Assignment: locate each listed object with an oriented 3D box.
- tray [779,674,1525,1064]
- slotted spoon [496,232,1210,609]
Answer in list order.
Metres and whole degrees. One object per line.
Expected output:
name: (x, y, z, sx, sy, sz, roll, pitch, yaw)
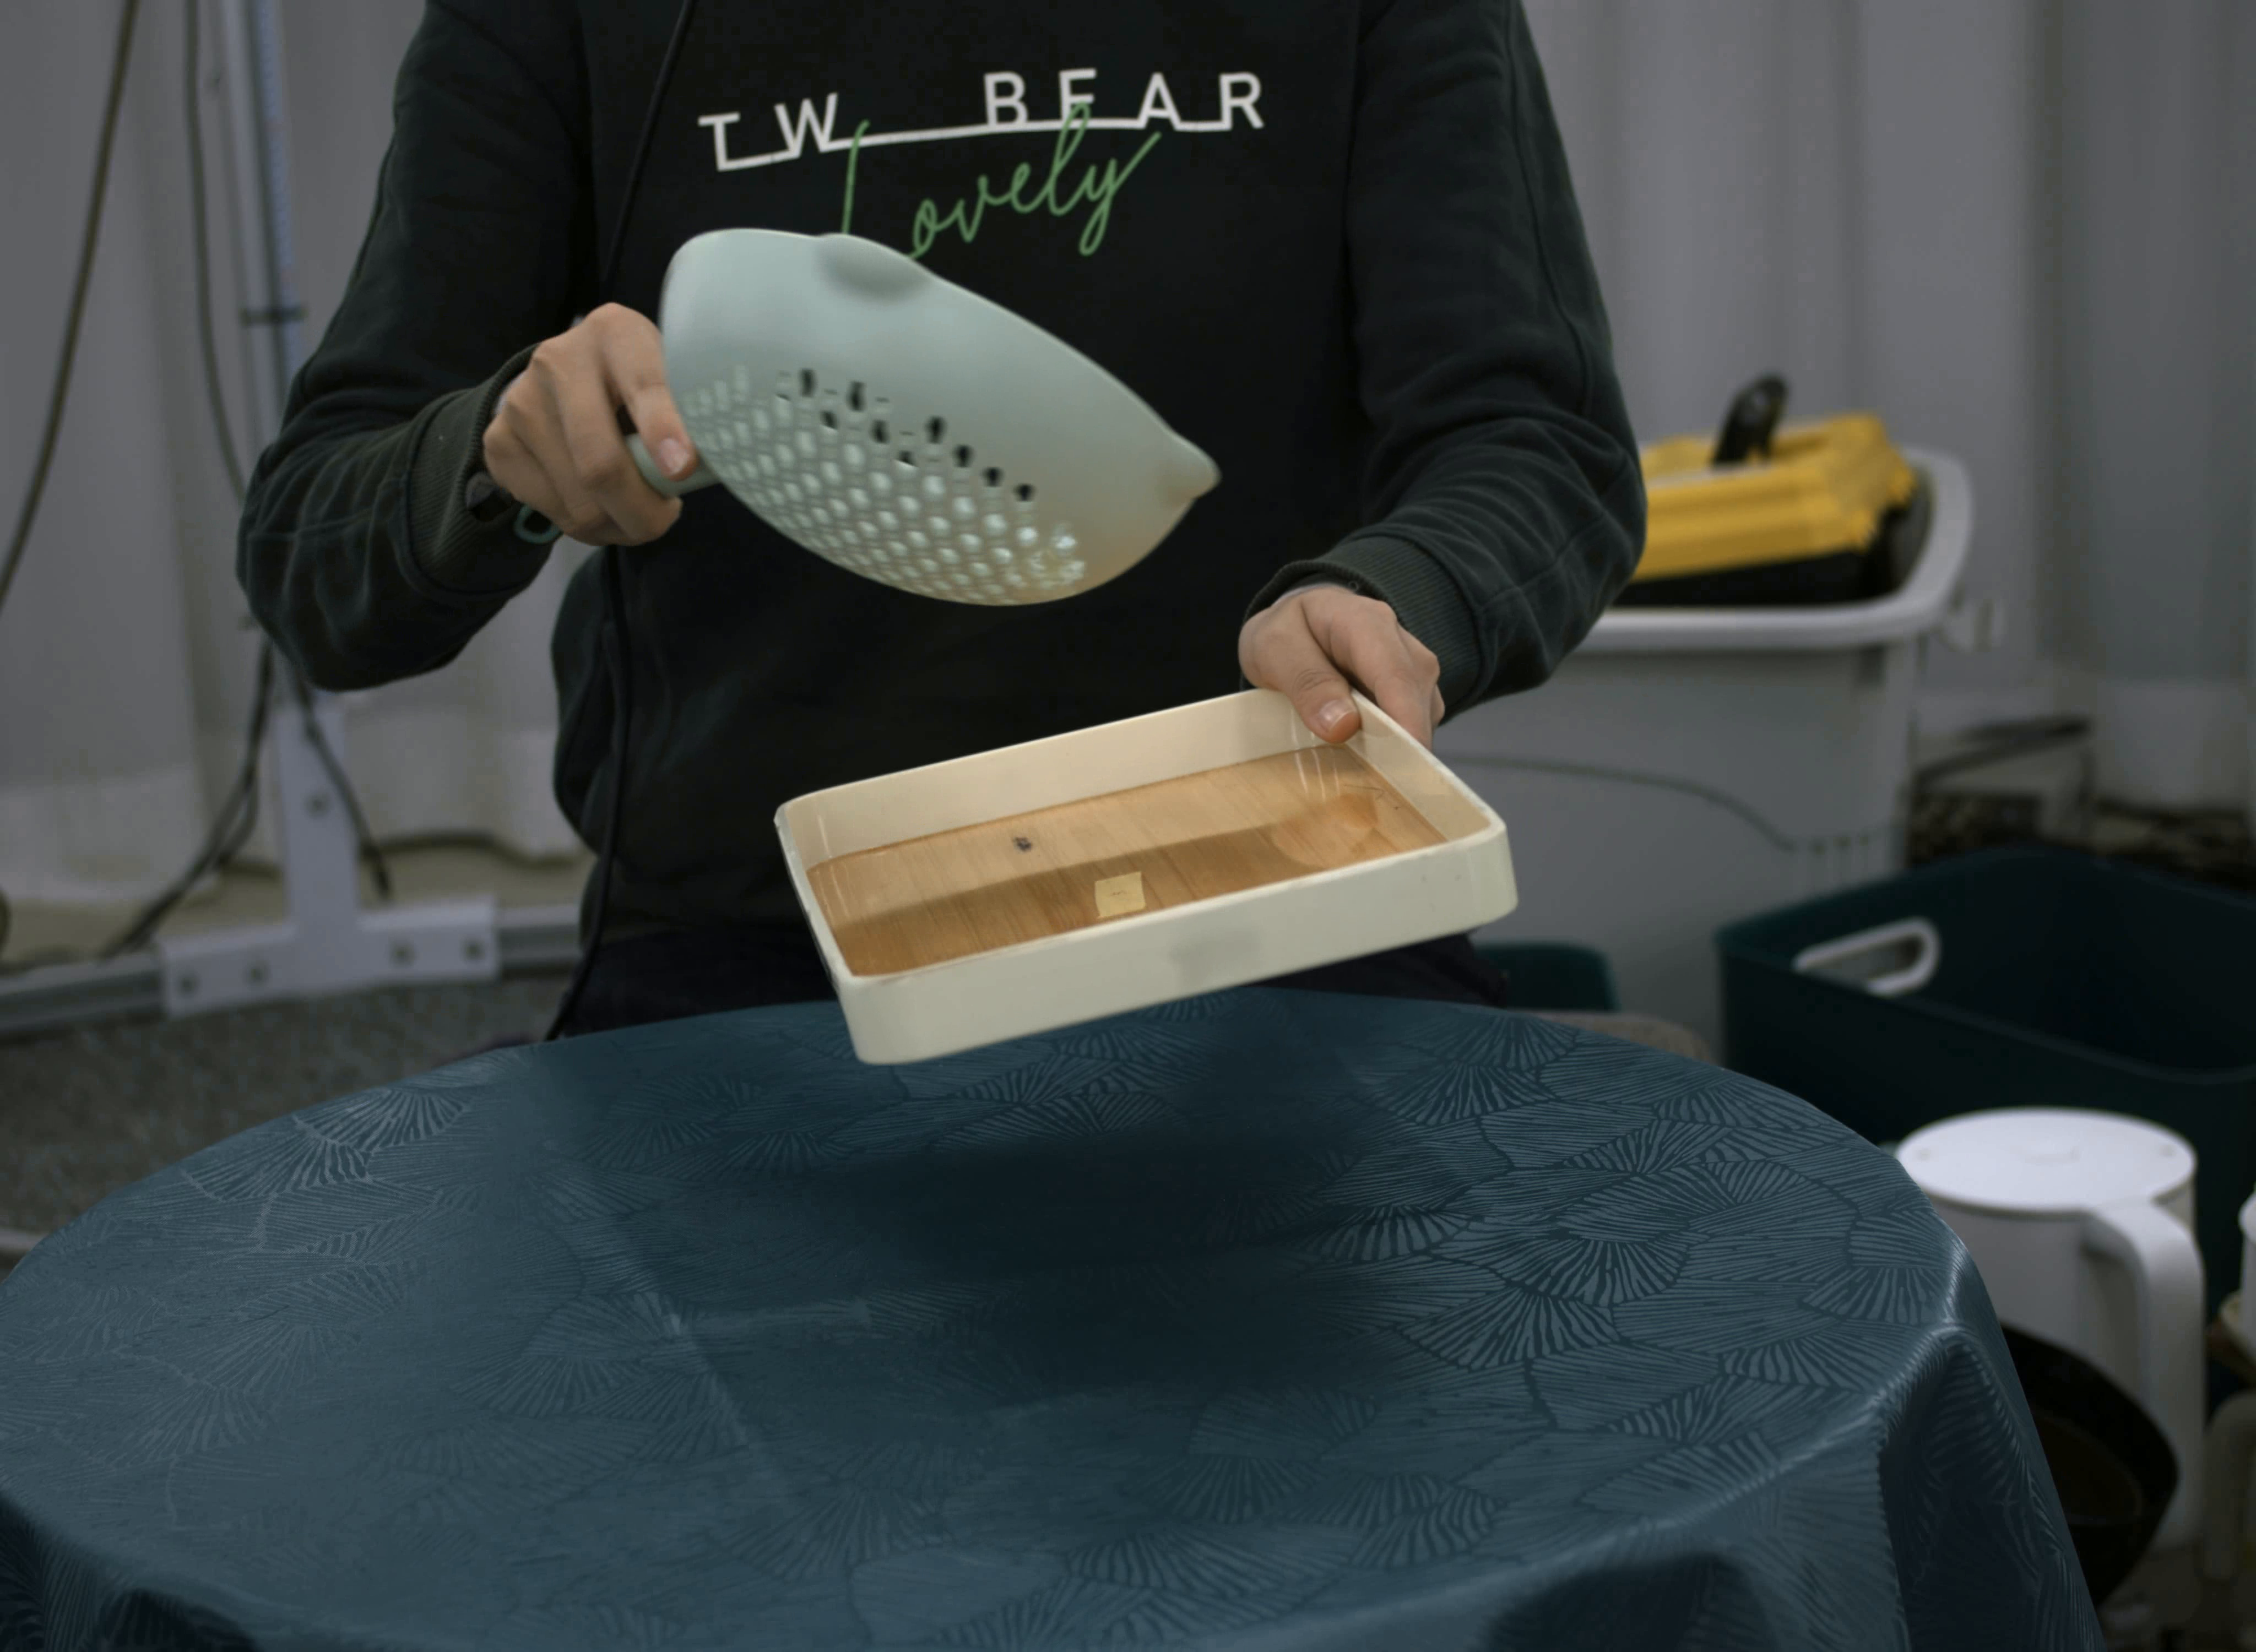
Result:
tray: (-0.001, 0.009, 1.628, 0.191, 0.027, 0.302, -13, 12, -5)
slotted spoon: (-0.115, -0.114, 1.696, 0.168, 0.076, 0.360, 32, -11, -24)
